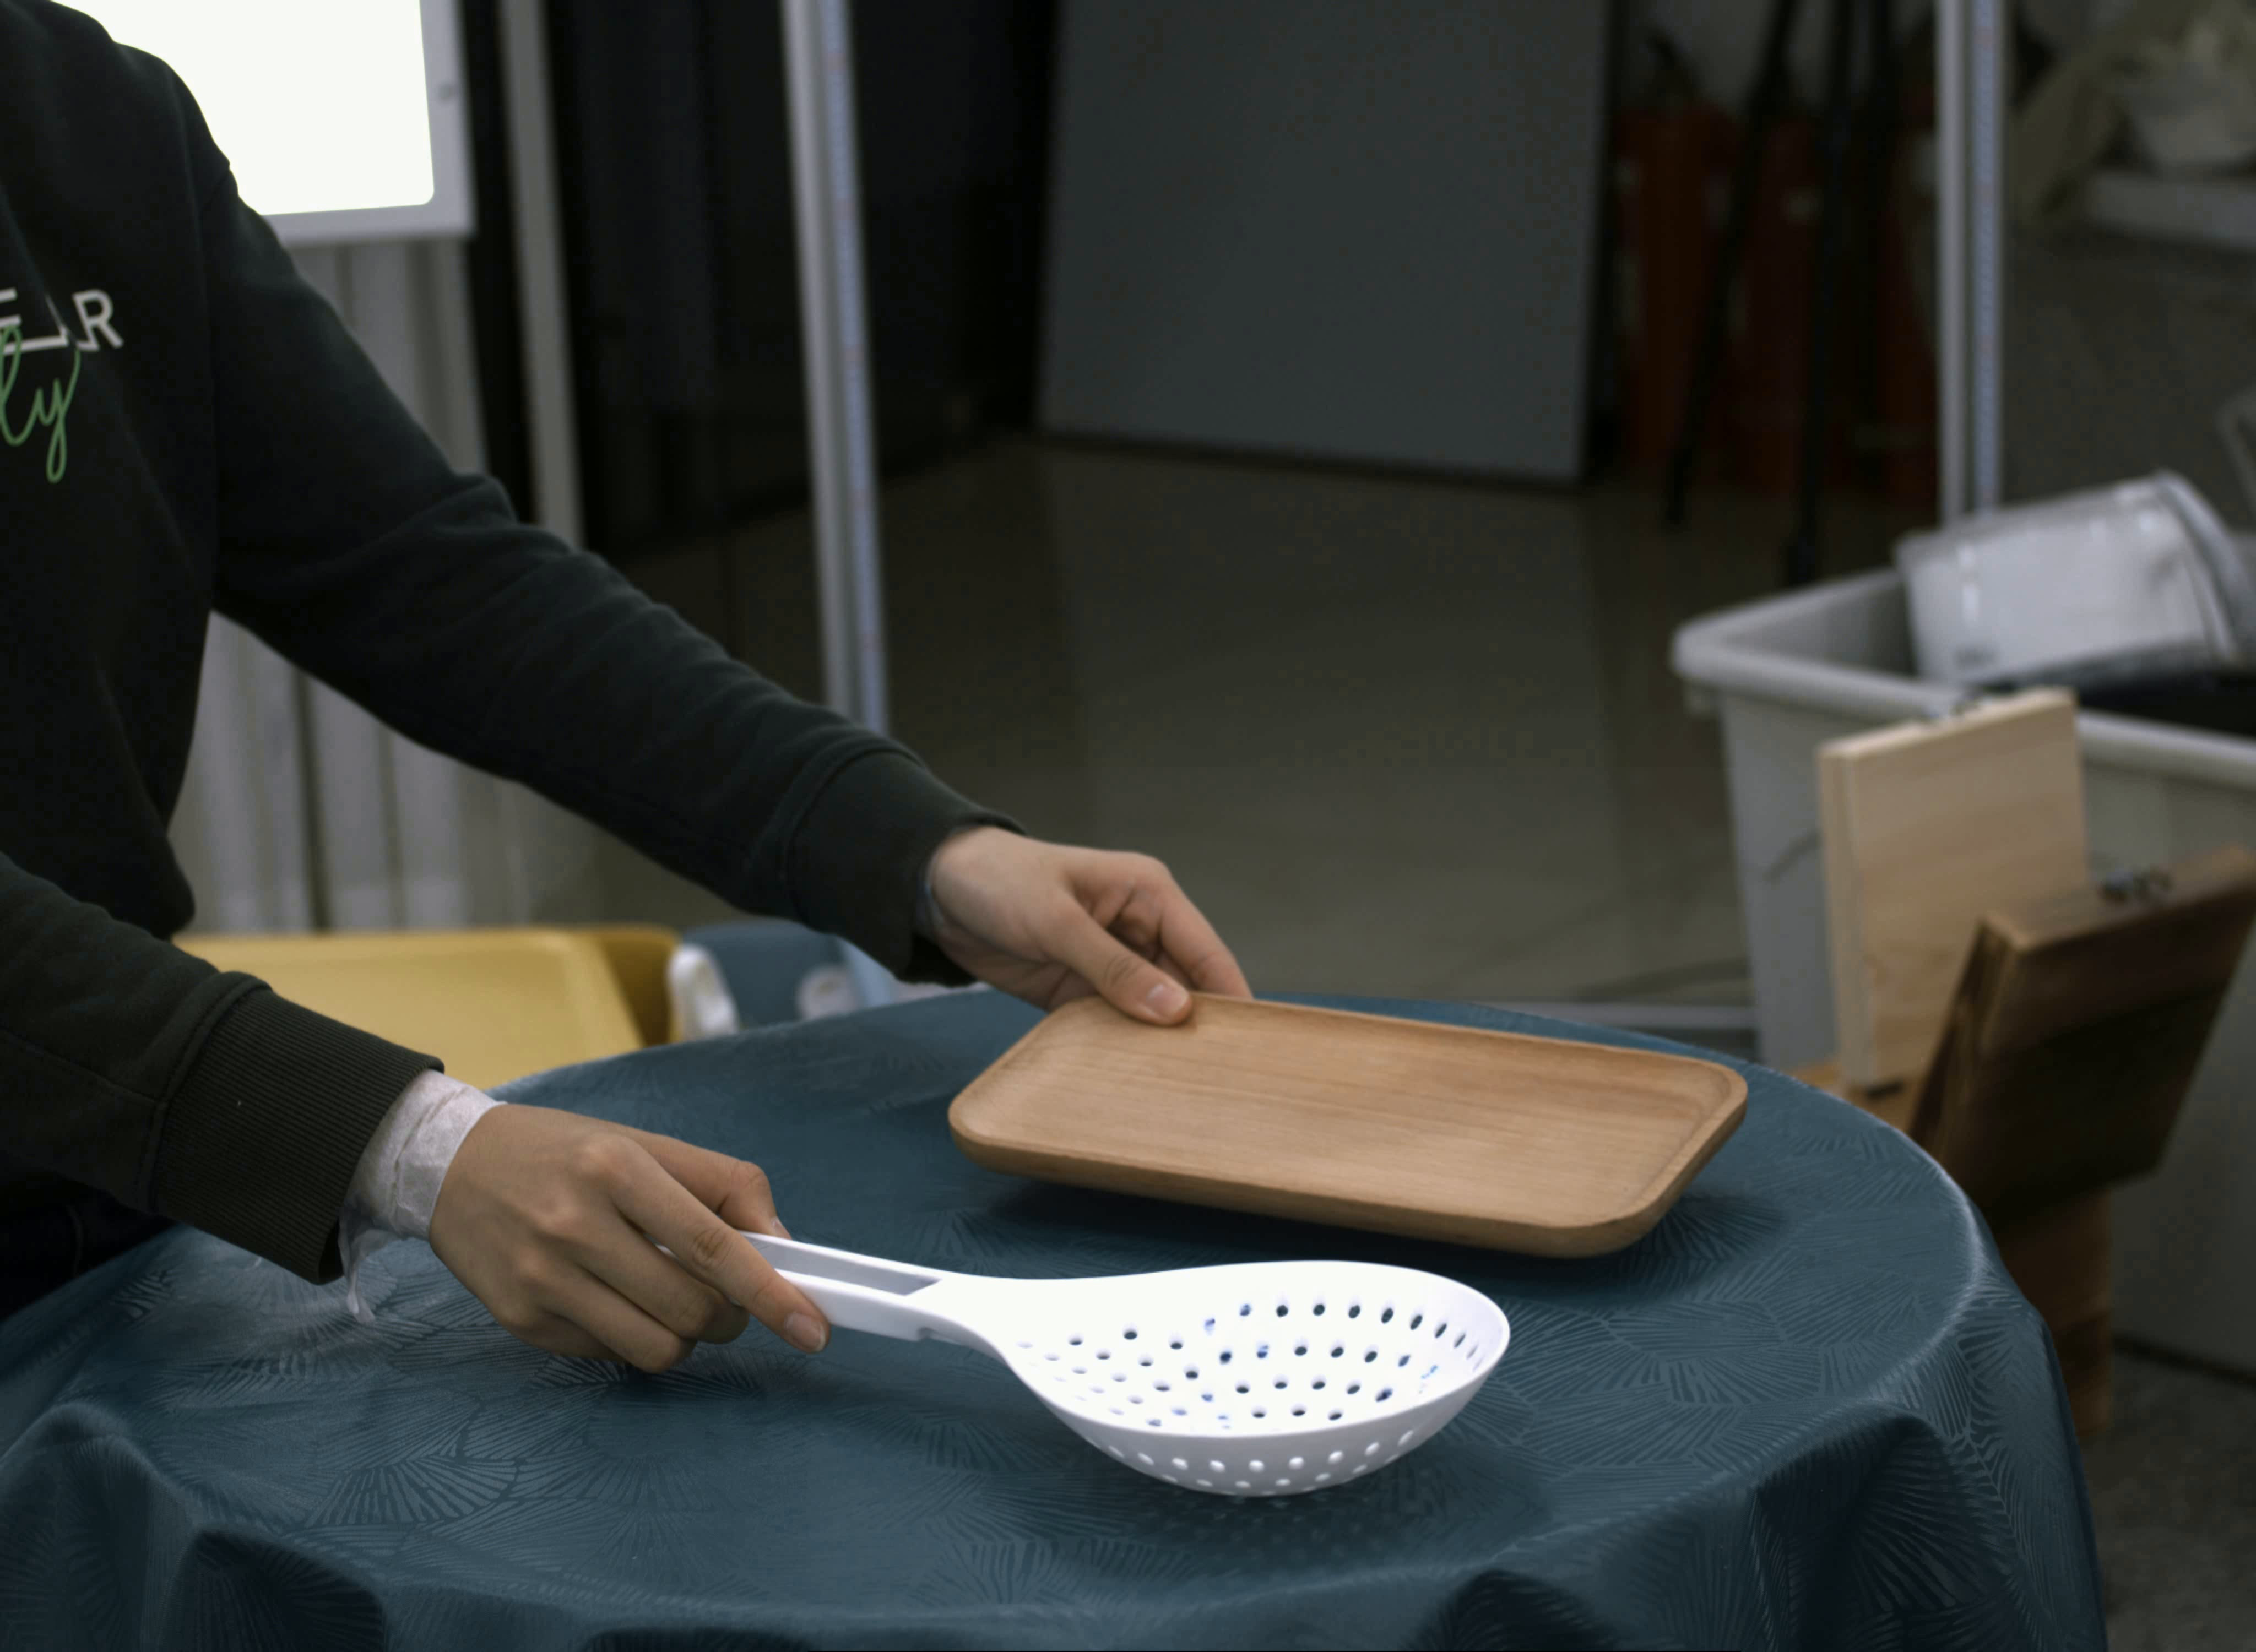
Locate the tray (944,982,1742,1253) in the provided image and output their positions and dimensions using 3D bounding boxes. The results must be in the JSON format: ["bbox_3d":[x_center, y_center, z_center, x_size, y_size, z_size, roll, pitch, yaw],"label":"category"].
[{"bbox_3d":[0.069,0.093,1.738,0.251,0.023,0.129,5,23,29],"label":"tray"}]

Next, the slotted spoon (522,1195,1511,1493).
[{"bbox_3d":[-0.044,0.140,1.569,0.352,0.046,0.133,12,21,37],"label":"slotted spoon"}]
